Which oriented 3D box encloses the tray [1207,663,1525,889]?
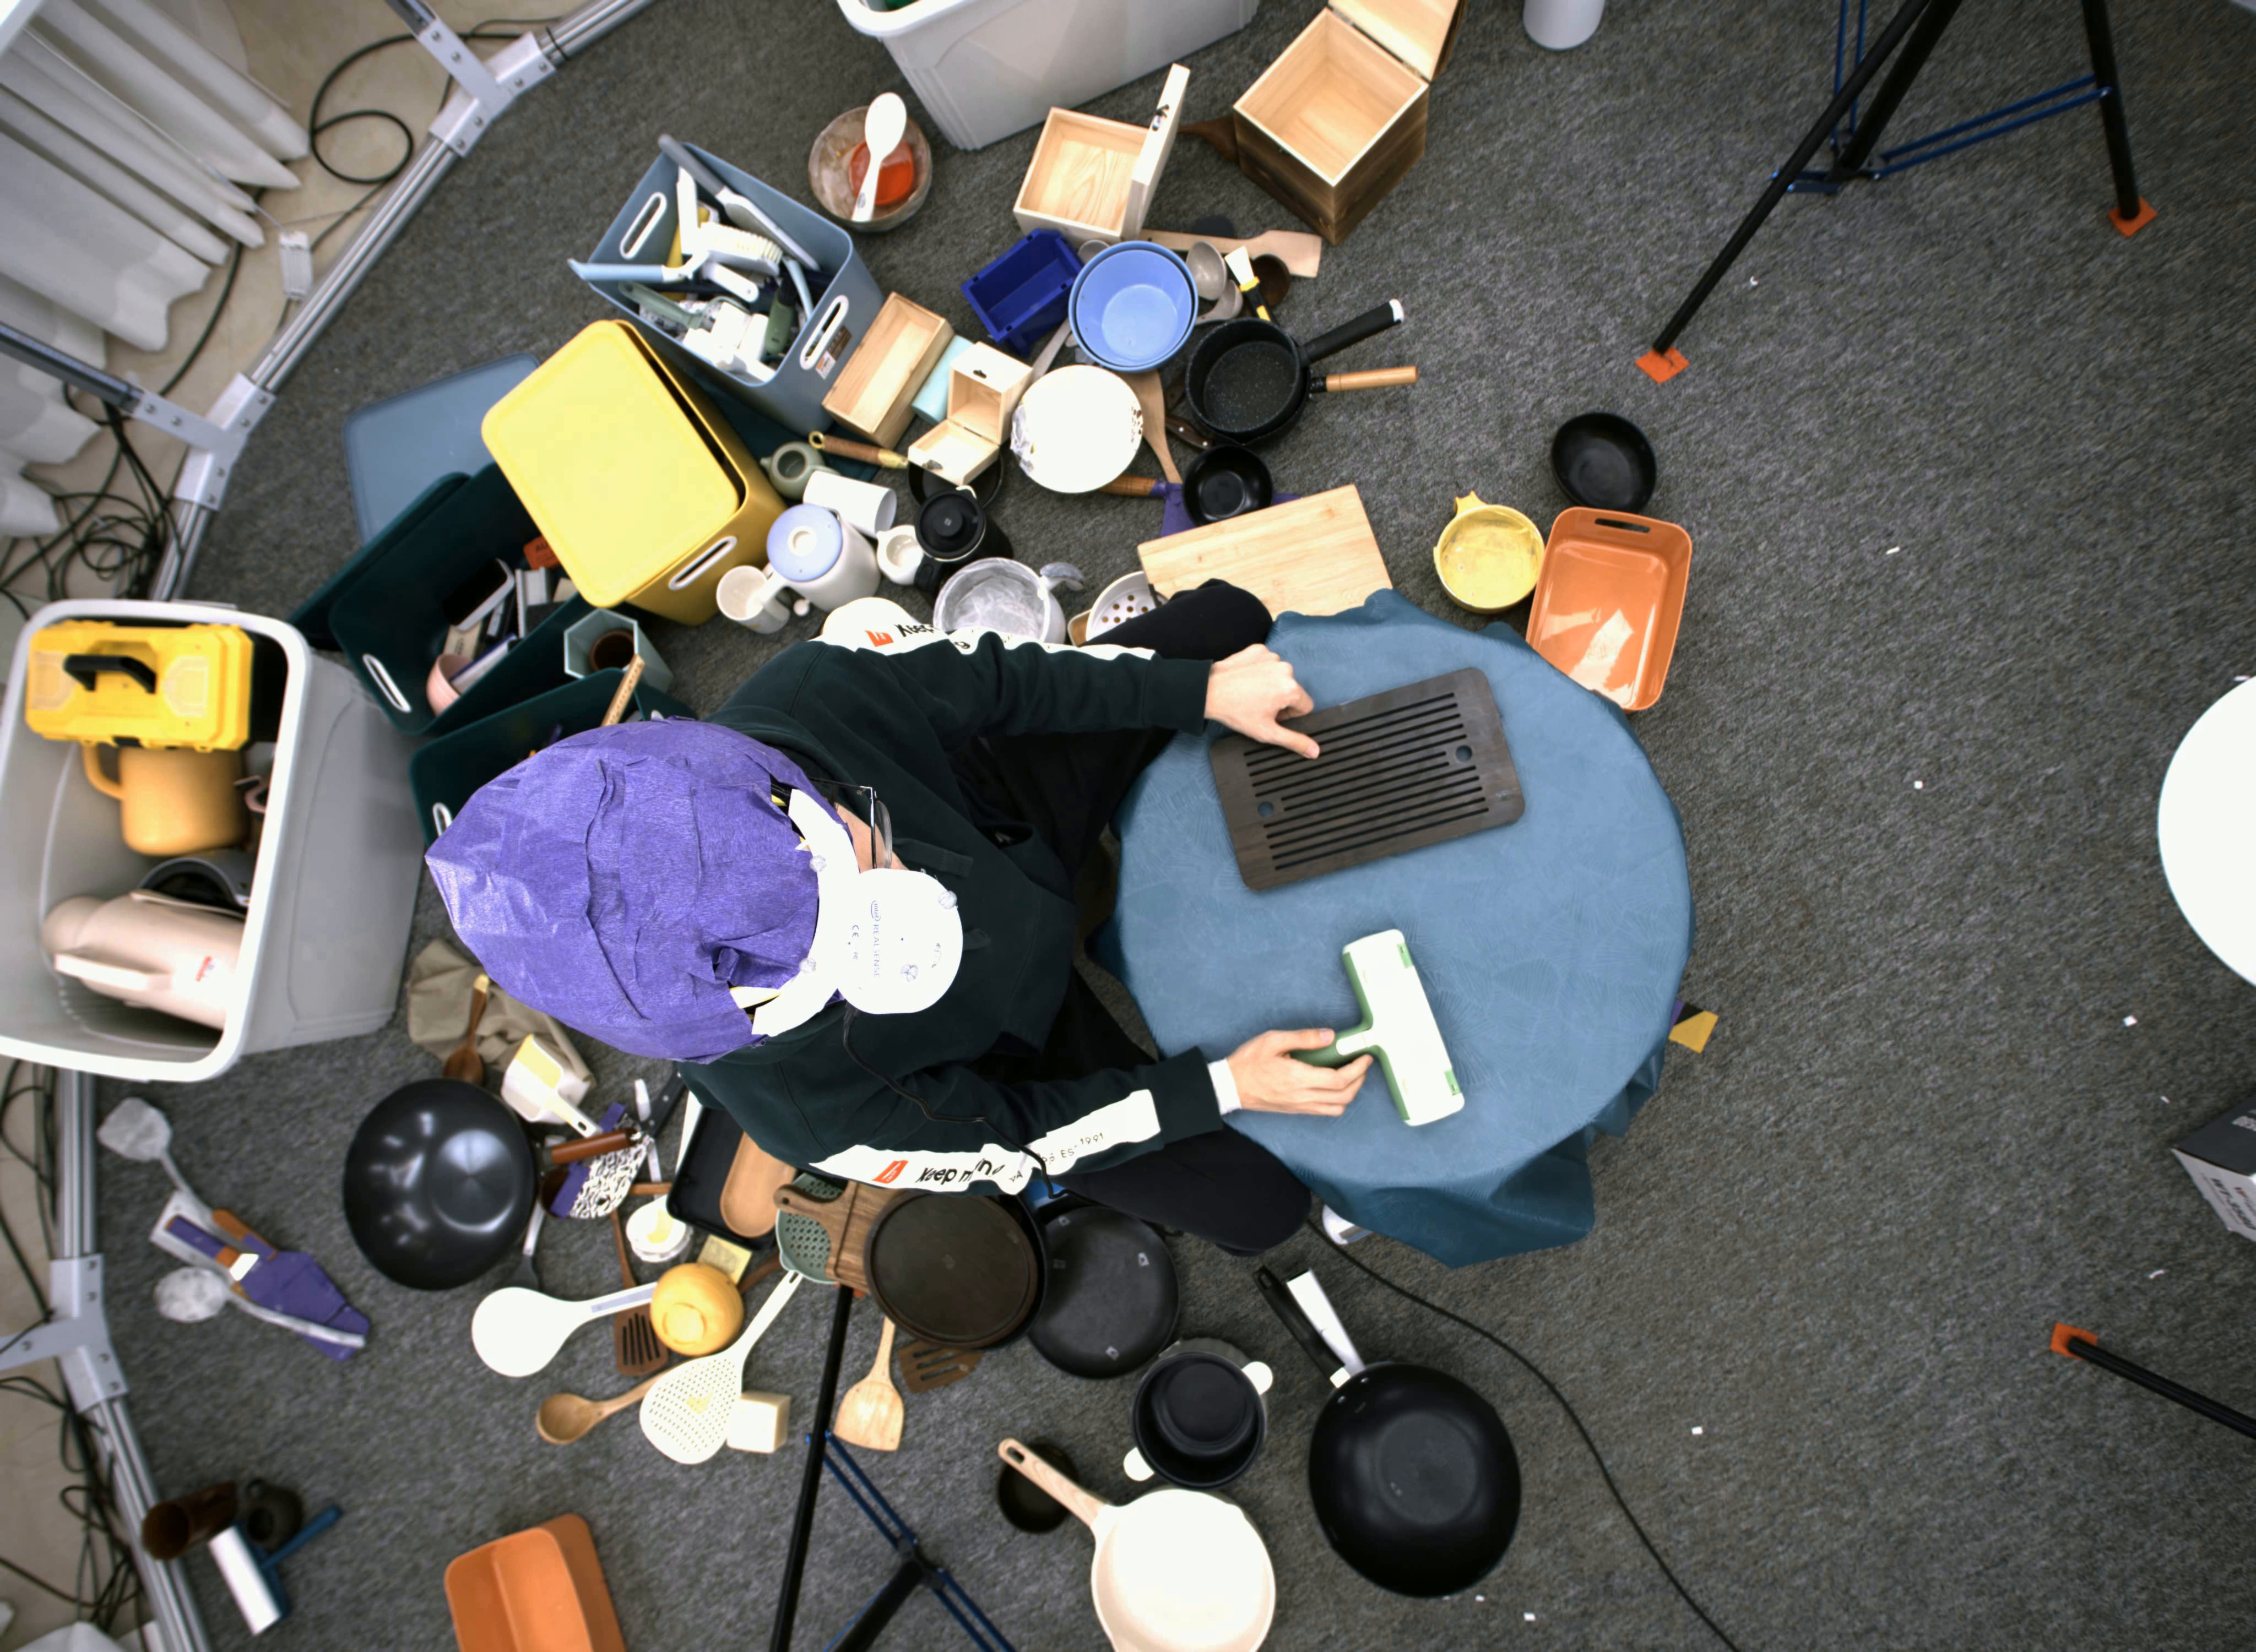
[{"bbox_3d":[0.249,-0.053,1.456,0.307,0.018,0.169,-16,85,9],"label":"tray"}]

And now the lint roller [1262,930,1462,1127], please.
[{"bbox_3d":[0.224,0.224,1.416,0.184,0.082,0.197,-20,84,5],"label":"lint roller"}]
